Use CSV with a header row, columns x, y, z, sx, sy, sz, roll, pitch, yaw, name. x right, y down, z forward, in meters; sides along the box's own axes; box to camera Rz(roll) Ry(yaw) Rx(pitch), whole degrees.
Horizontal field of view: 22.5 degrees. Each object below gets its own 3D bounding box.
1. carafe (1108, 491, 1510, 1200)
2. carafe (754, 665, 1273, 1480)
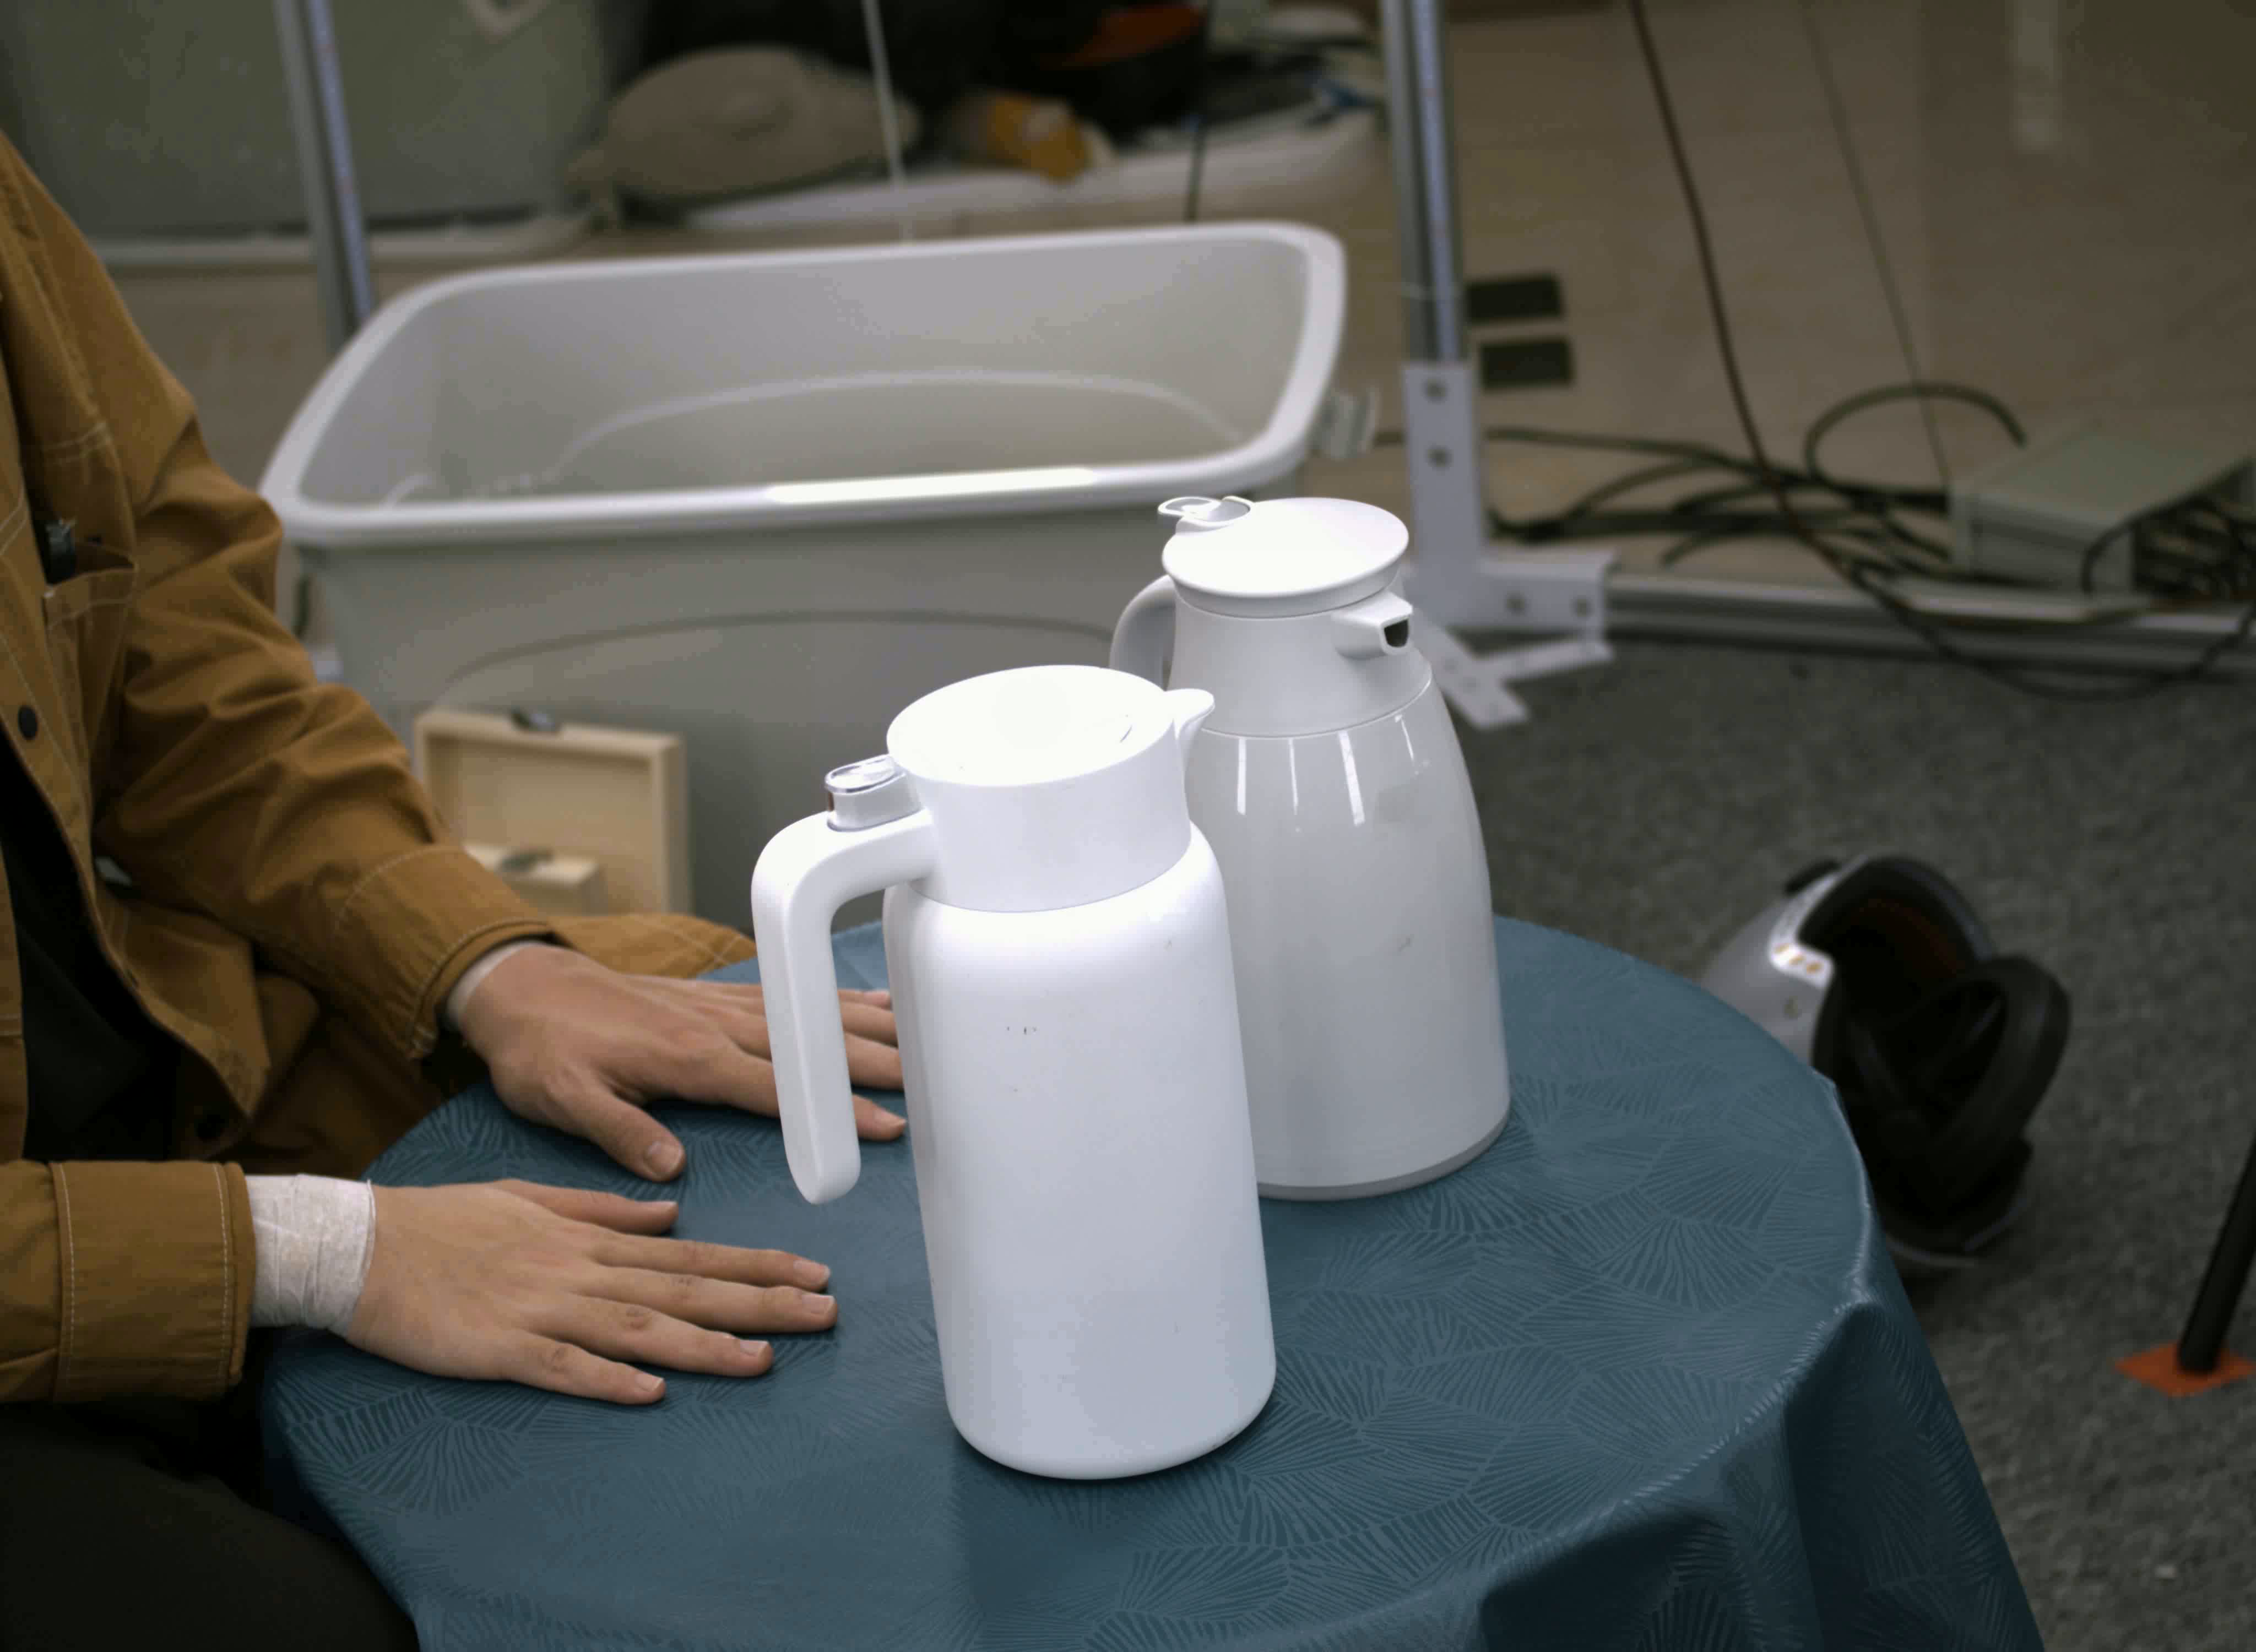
x,y,z,sx,sy,sz,roll,pitch,yaw,name
0.056,-0.003,2.142,0.131,0.252,0.166,-26,31,-34,carafe
-0.034,0.090,1.942,0.172,0.273,0.122,-18,30,-23,carafe
